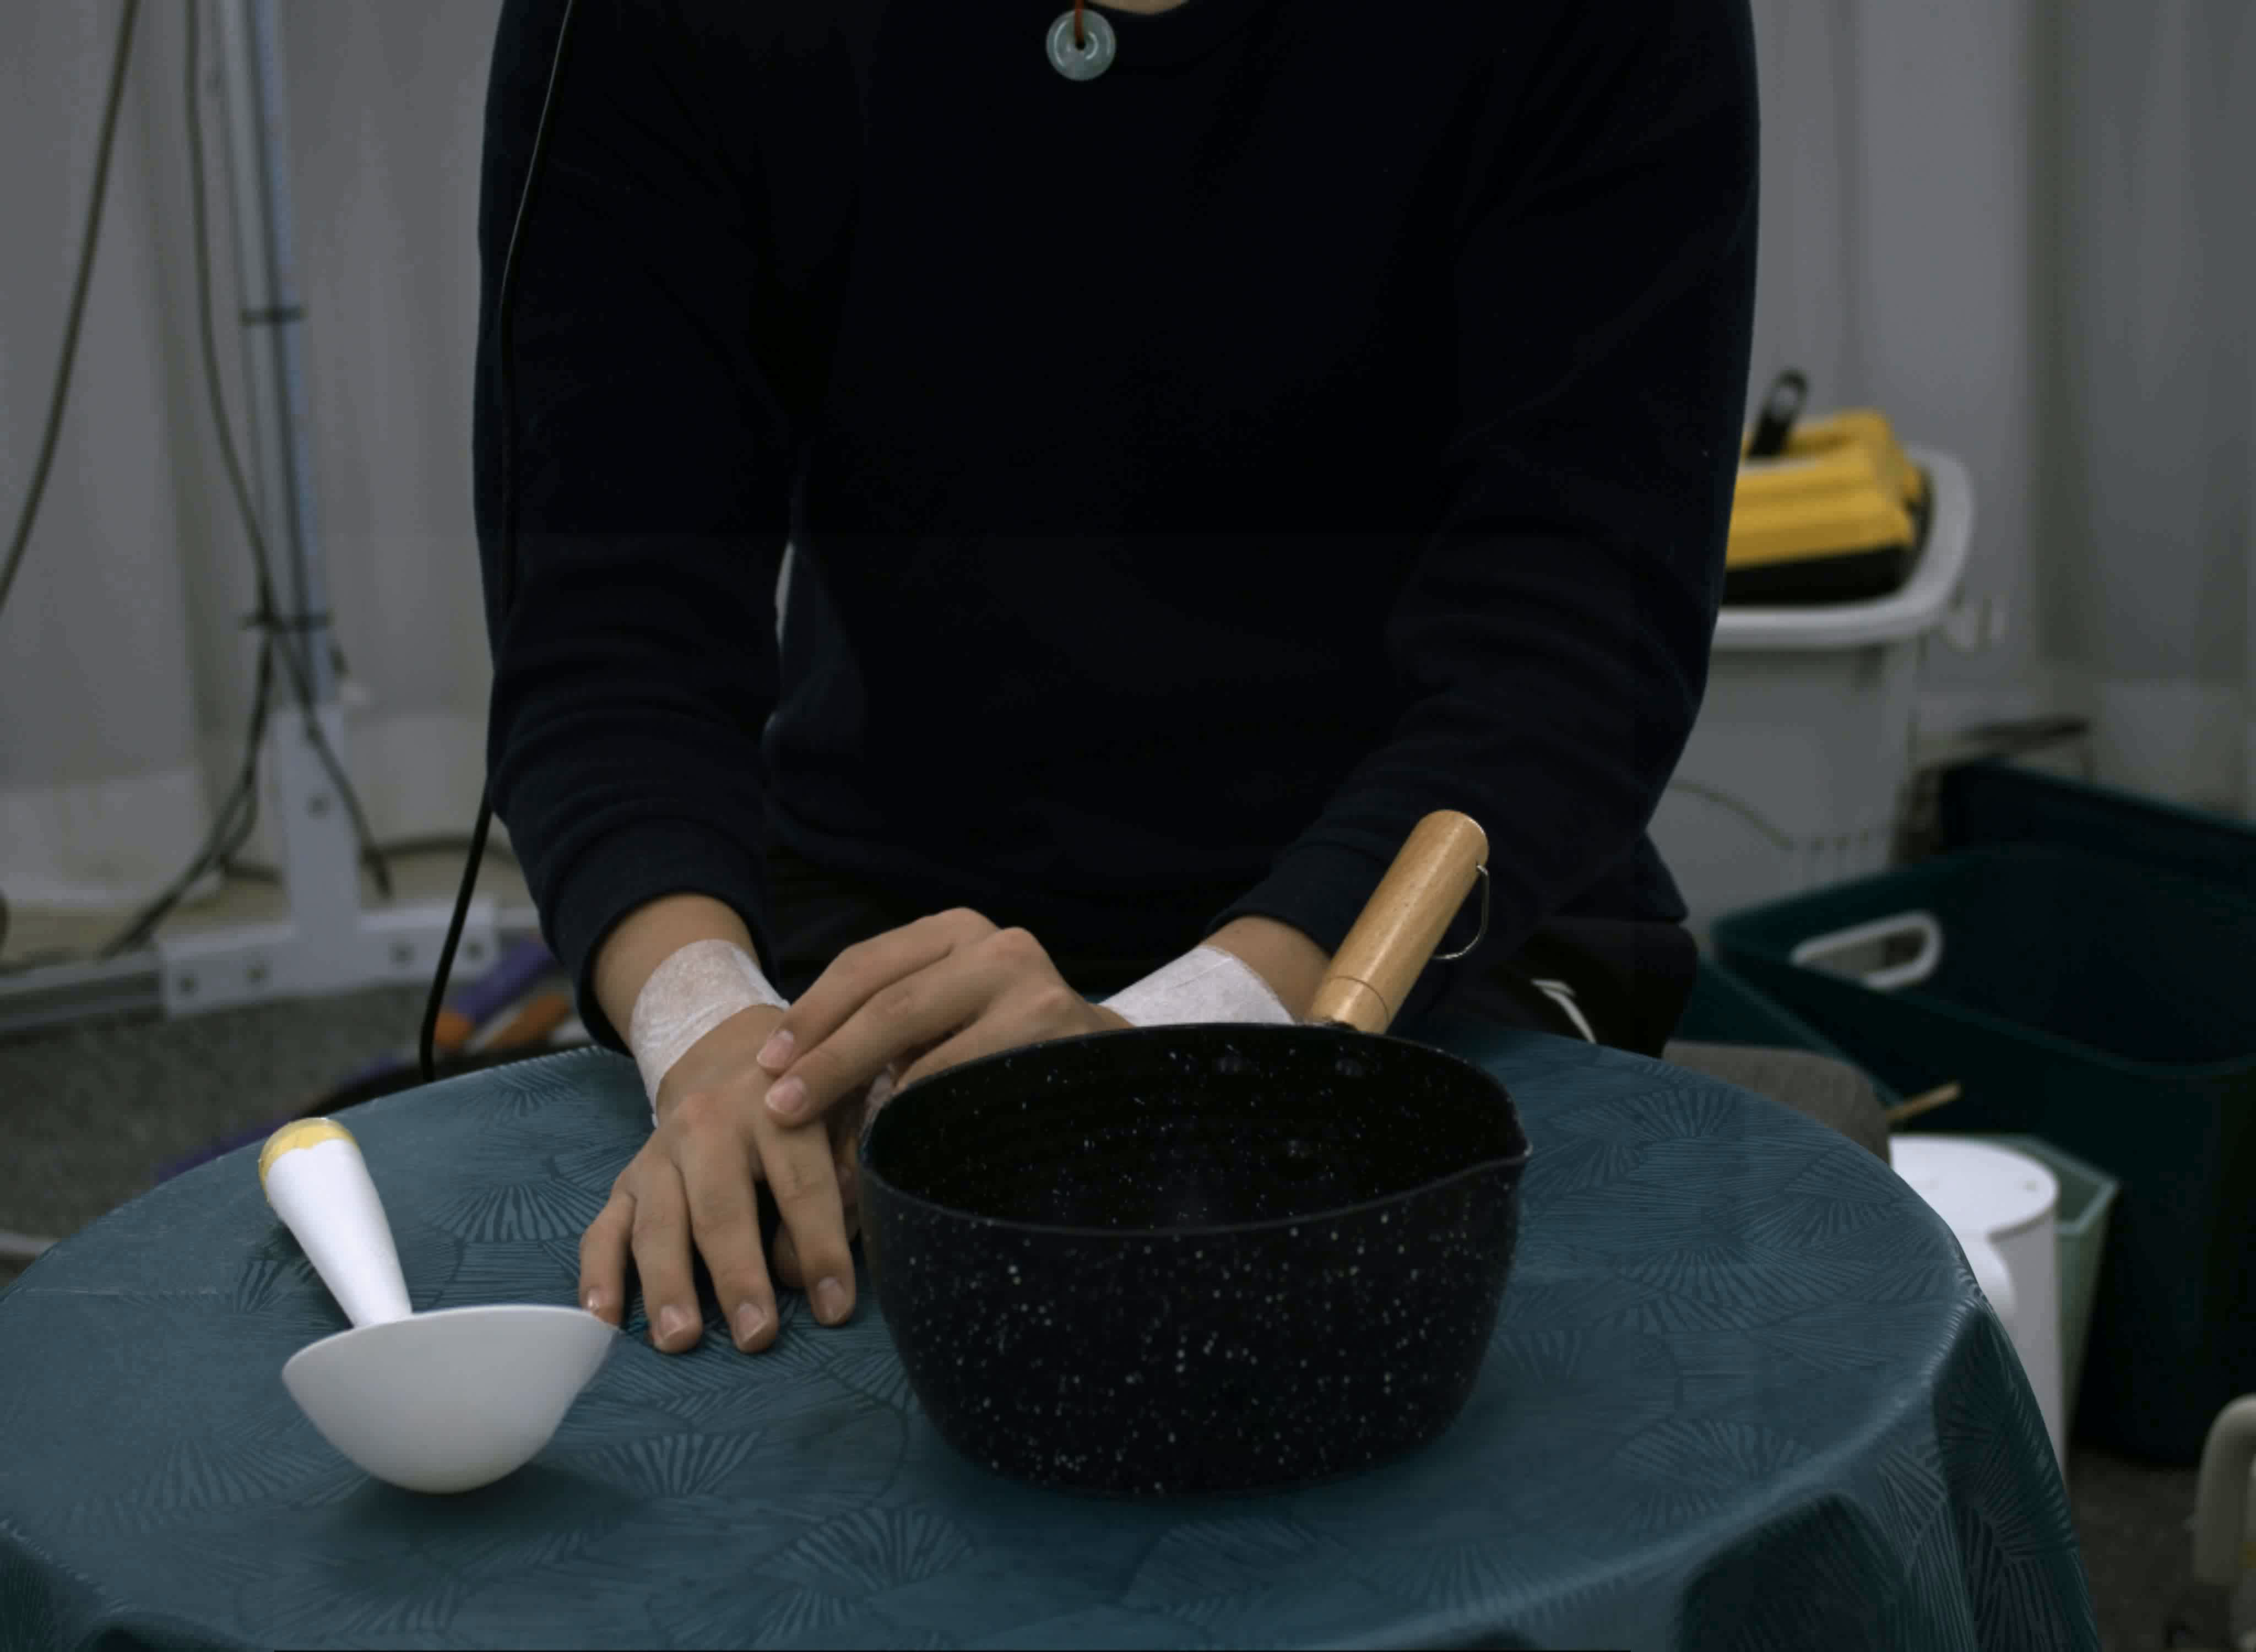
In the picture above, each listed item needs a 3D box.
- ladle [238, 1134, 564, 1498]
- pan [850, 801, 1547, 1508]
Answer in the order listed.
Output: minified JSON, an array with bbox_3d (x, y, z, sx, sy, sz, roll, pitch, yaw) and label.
[{"bbox_3d":[-0.224,0.127,1.589,0.090,0.069,0.295,-12,16,-12],"label":"ladle"},{"bbox_3d":[0.044,0.090,1.591,0.207,0.108,0.344,1,17,20],"label":"pan"}]
